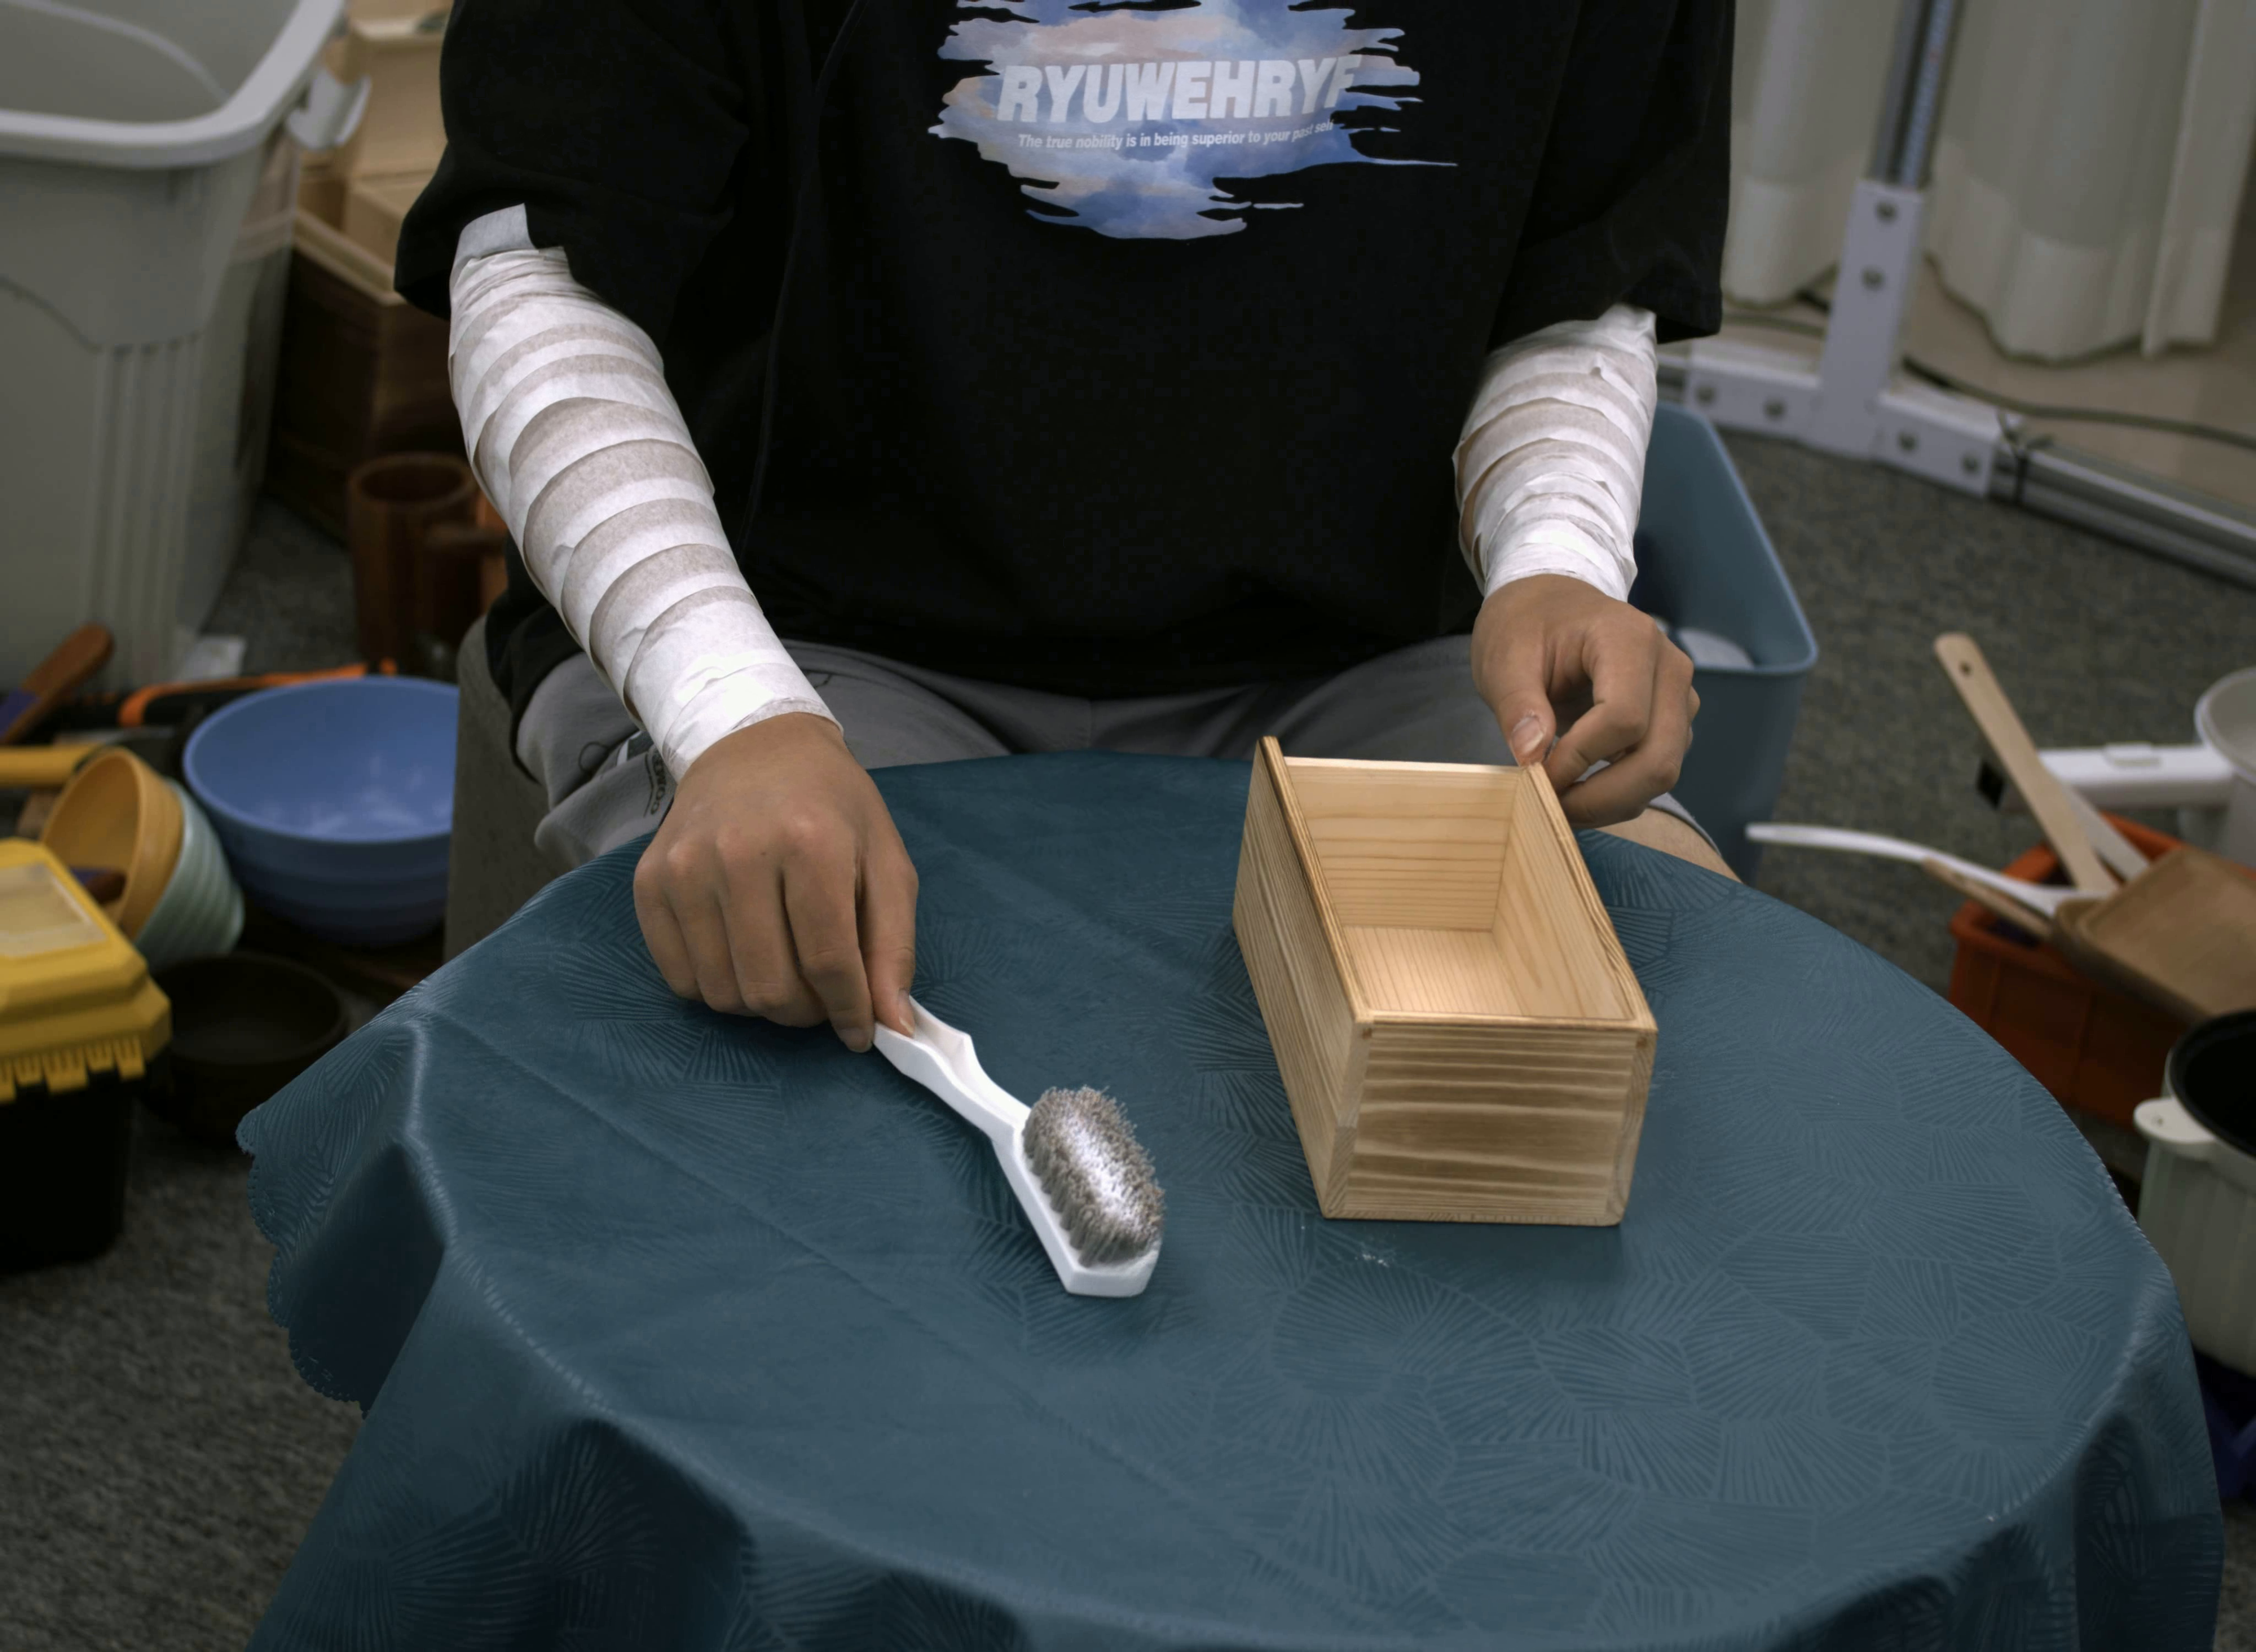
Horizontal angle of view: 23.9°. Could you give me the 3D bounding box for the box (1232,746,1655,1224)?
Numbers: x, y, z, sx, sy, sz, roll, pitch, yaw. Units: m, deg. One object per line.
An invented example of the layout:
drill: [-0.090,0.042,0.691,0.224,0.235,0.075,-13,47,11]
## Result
box: [0.107,0.053,1.881,0.107,0.080,0.213,2,26,-10]

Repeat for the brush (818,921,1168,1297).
brush: [-0.051,0.079,1.817,0.034,0.050,0.246,-7,32,-25]
